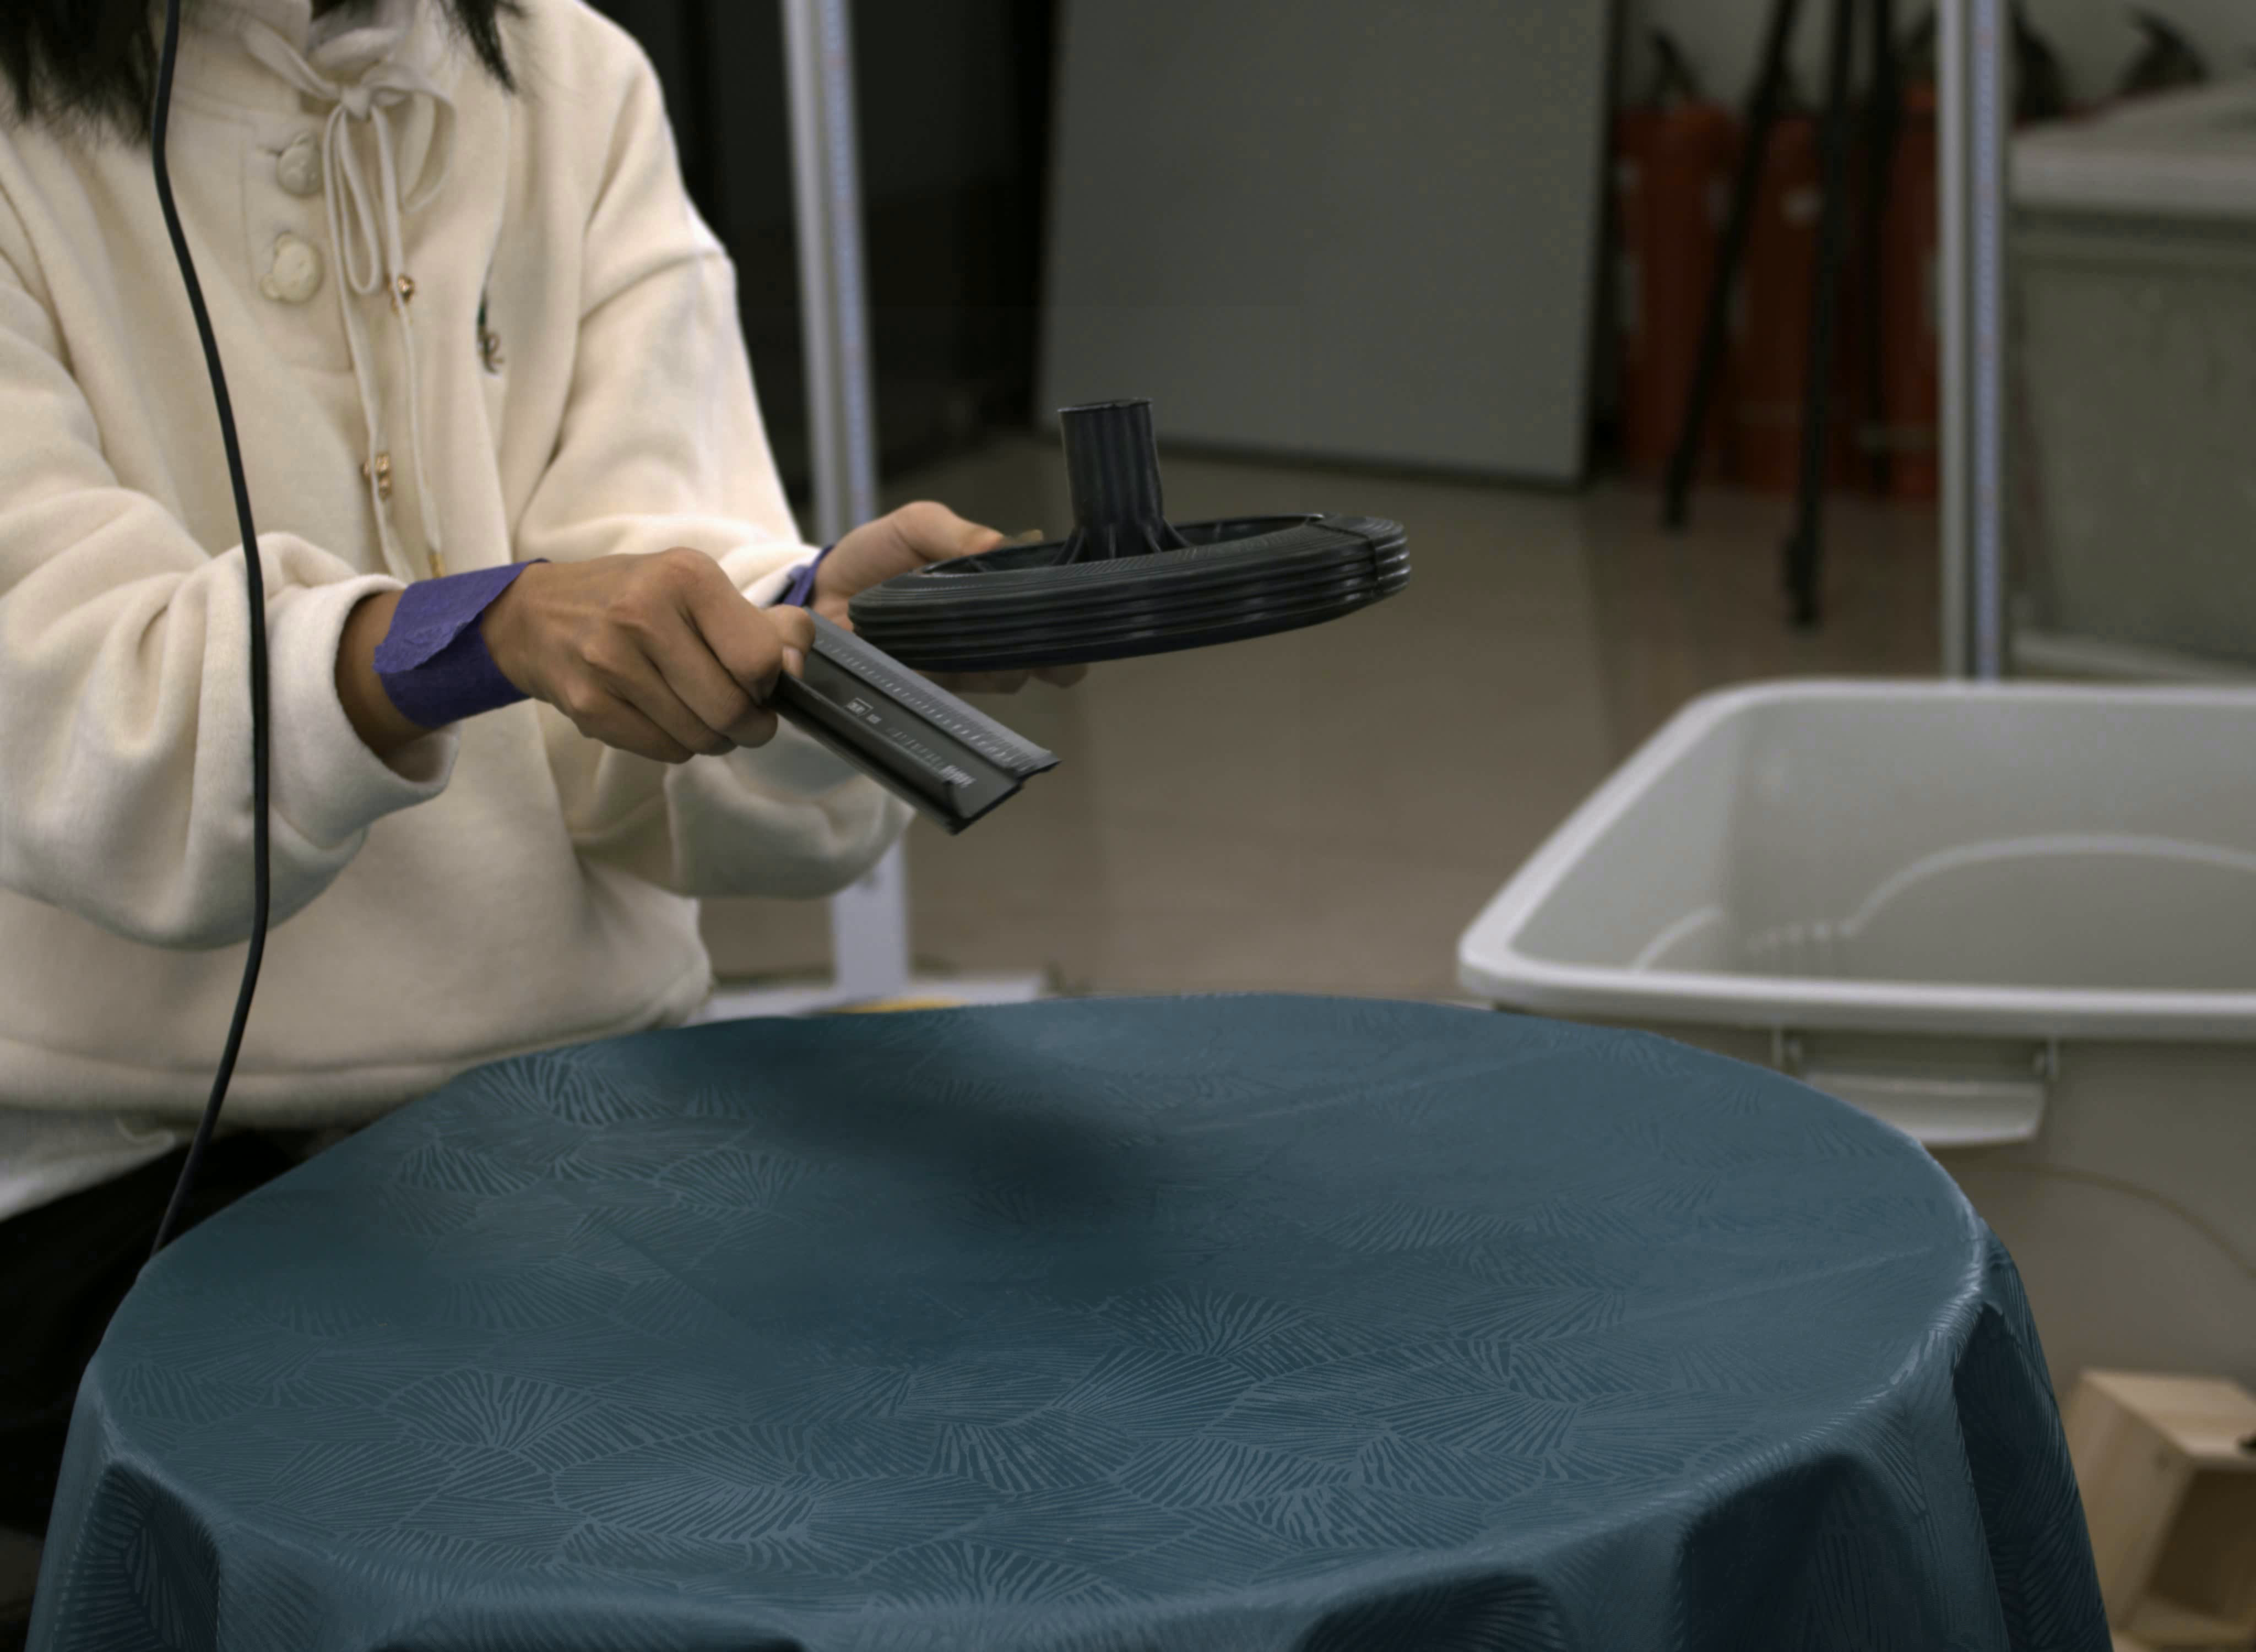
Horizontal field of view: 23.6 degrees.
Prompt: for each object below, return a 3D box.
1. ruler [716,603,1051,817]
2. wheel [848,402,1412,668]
[{"bbox_3d":[-0.081,-0.044,1.676,0.039,0.017,0.315,-33,17,-9],"label":"ruler"},{"bbox_3d":[-0.002,-0.098,1.778,0.186,0.080,0.189,-10,6,-20],"label":"wheel"}]
